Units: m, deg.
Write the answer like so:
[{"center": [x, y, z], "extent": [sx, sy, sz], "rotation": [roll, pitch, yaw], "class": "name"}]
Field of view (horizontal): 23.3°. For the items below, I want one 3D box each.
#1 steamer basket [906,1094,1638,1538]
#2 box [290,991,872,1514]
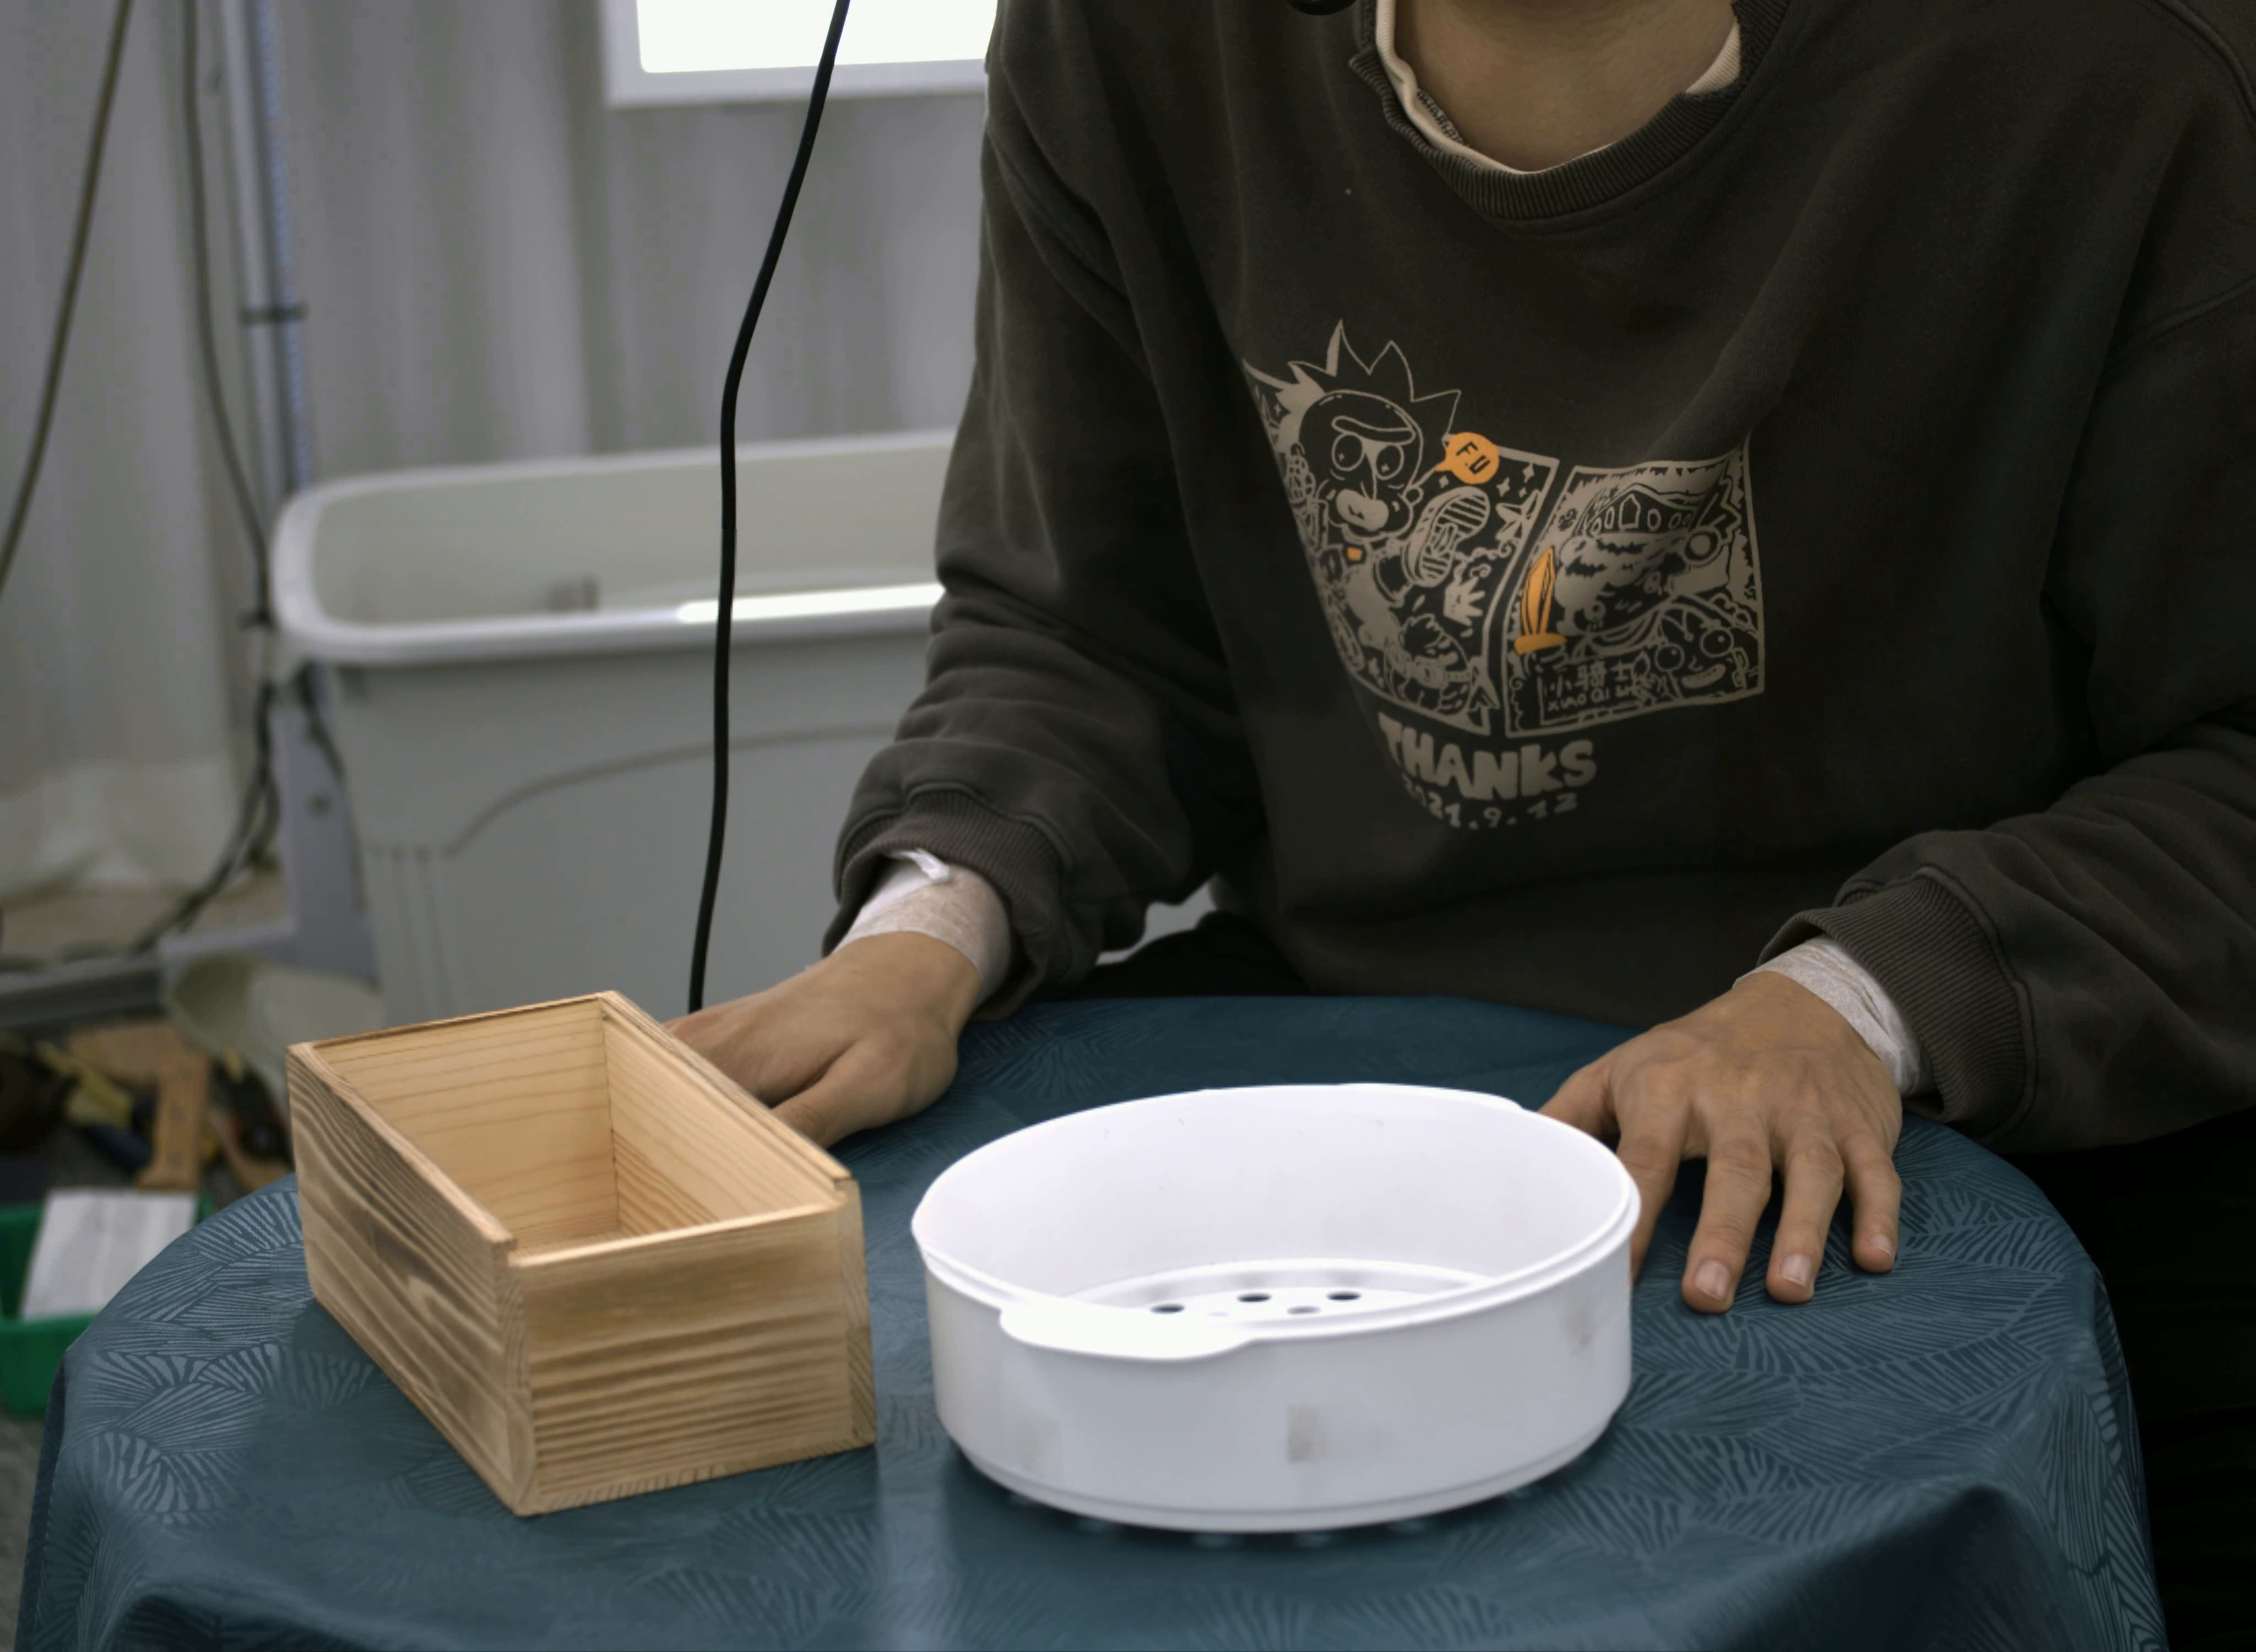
[{"center": [0.040, 0.135, 1.510], "extent": [0.202, 0.069, 0.231], "rotation": [5, 16, 26], "class": "steamer basket"}, {"center": [-0.162, 0.119, 1.585], "extent": [0.107, 0.080, 0.213], "rotation": [-9, 16, -22], "class": "box"}]
